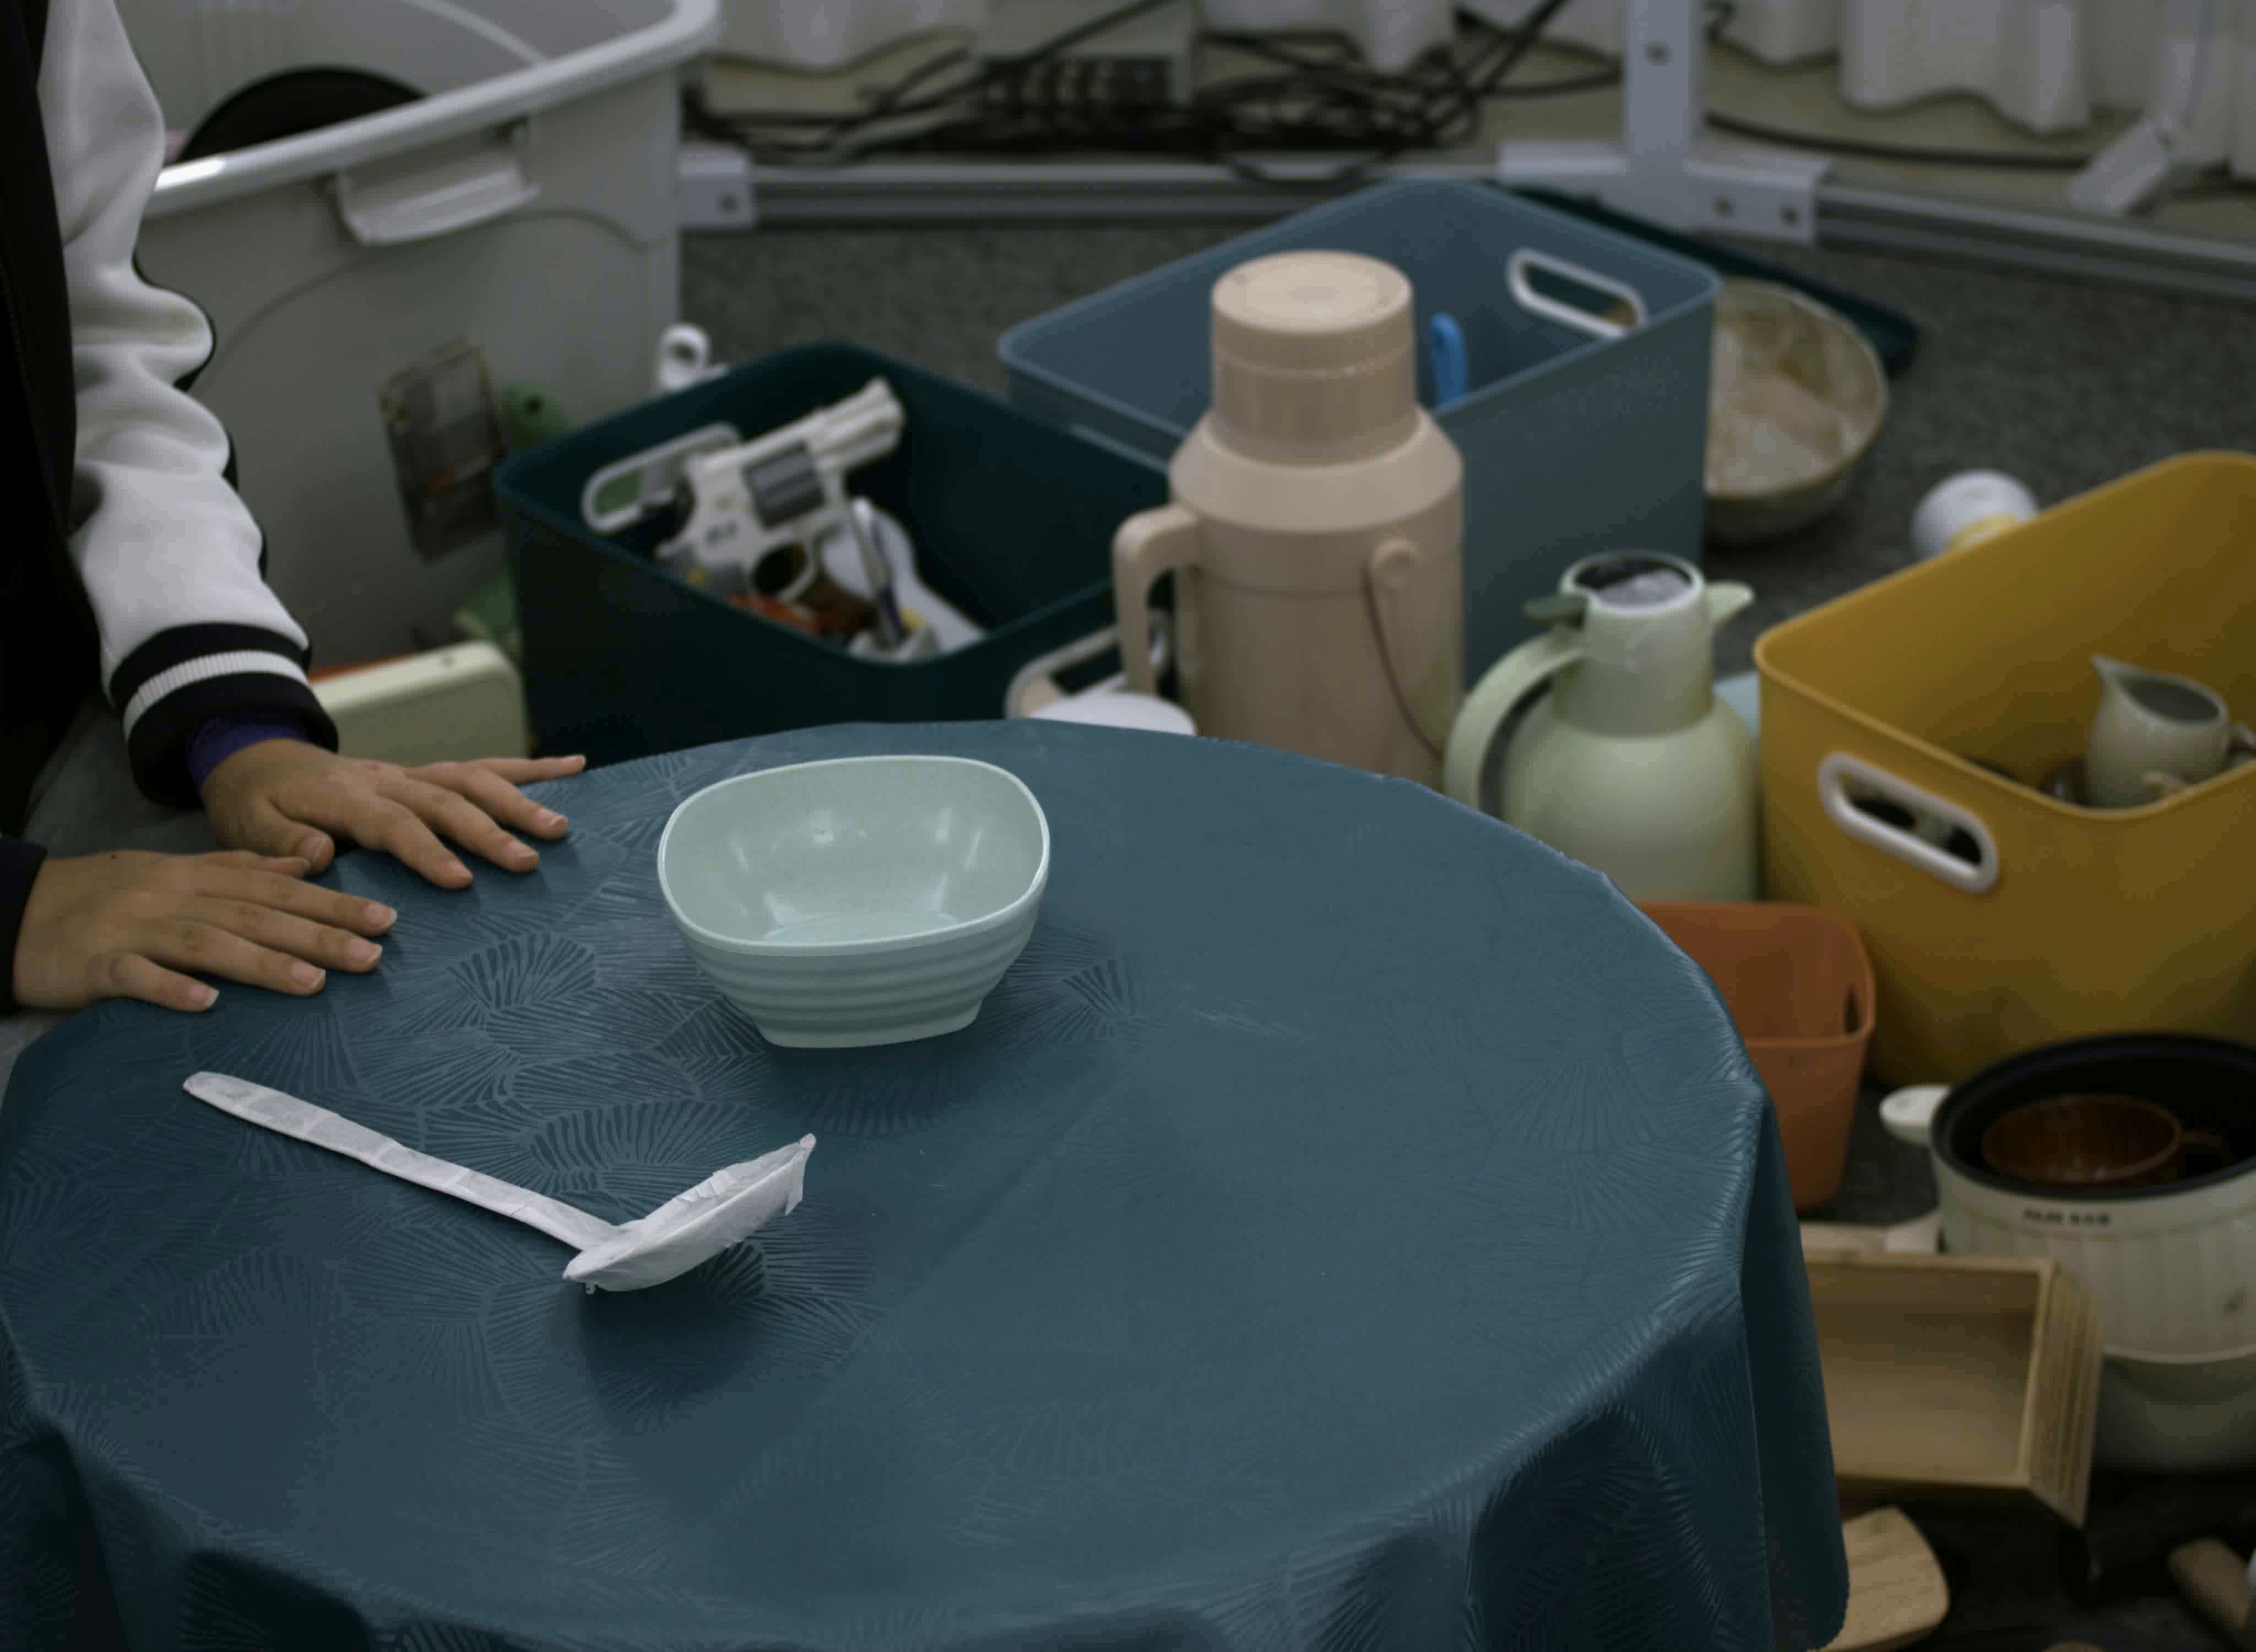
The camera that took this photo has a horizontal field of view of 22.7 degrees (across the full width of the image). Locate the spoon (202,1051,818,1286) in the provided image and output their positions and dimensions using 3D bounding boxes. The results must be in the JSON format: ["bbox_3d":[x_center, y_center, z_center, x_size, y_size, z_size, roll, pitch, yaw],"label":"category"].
[{"bbox_3d":[-0.214,0.096,1.872,0.276,0.059,0.102,20,30,37],"label":"spoon"}]

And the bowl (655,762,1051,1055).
[{"bbox_3d":[-0.095,0.035,1.981,0.151,0.058,0.154,-2,27,1],"label":"bowl"}]
